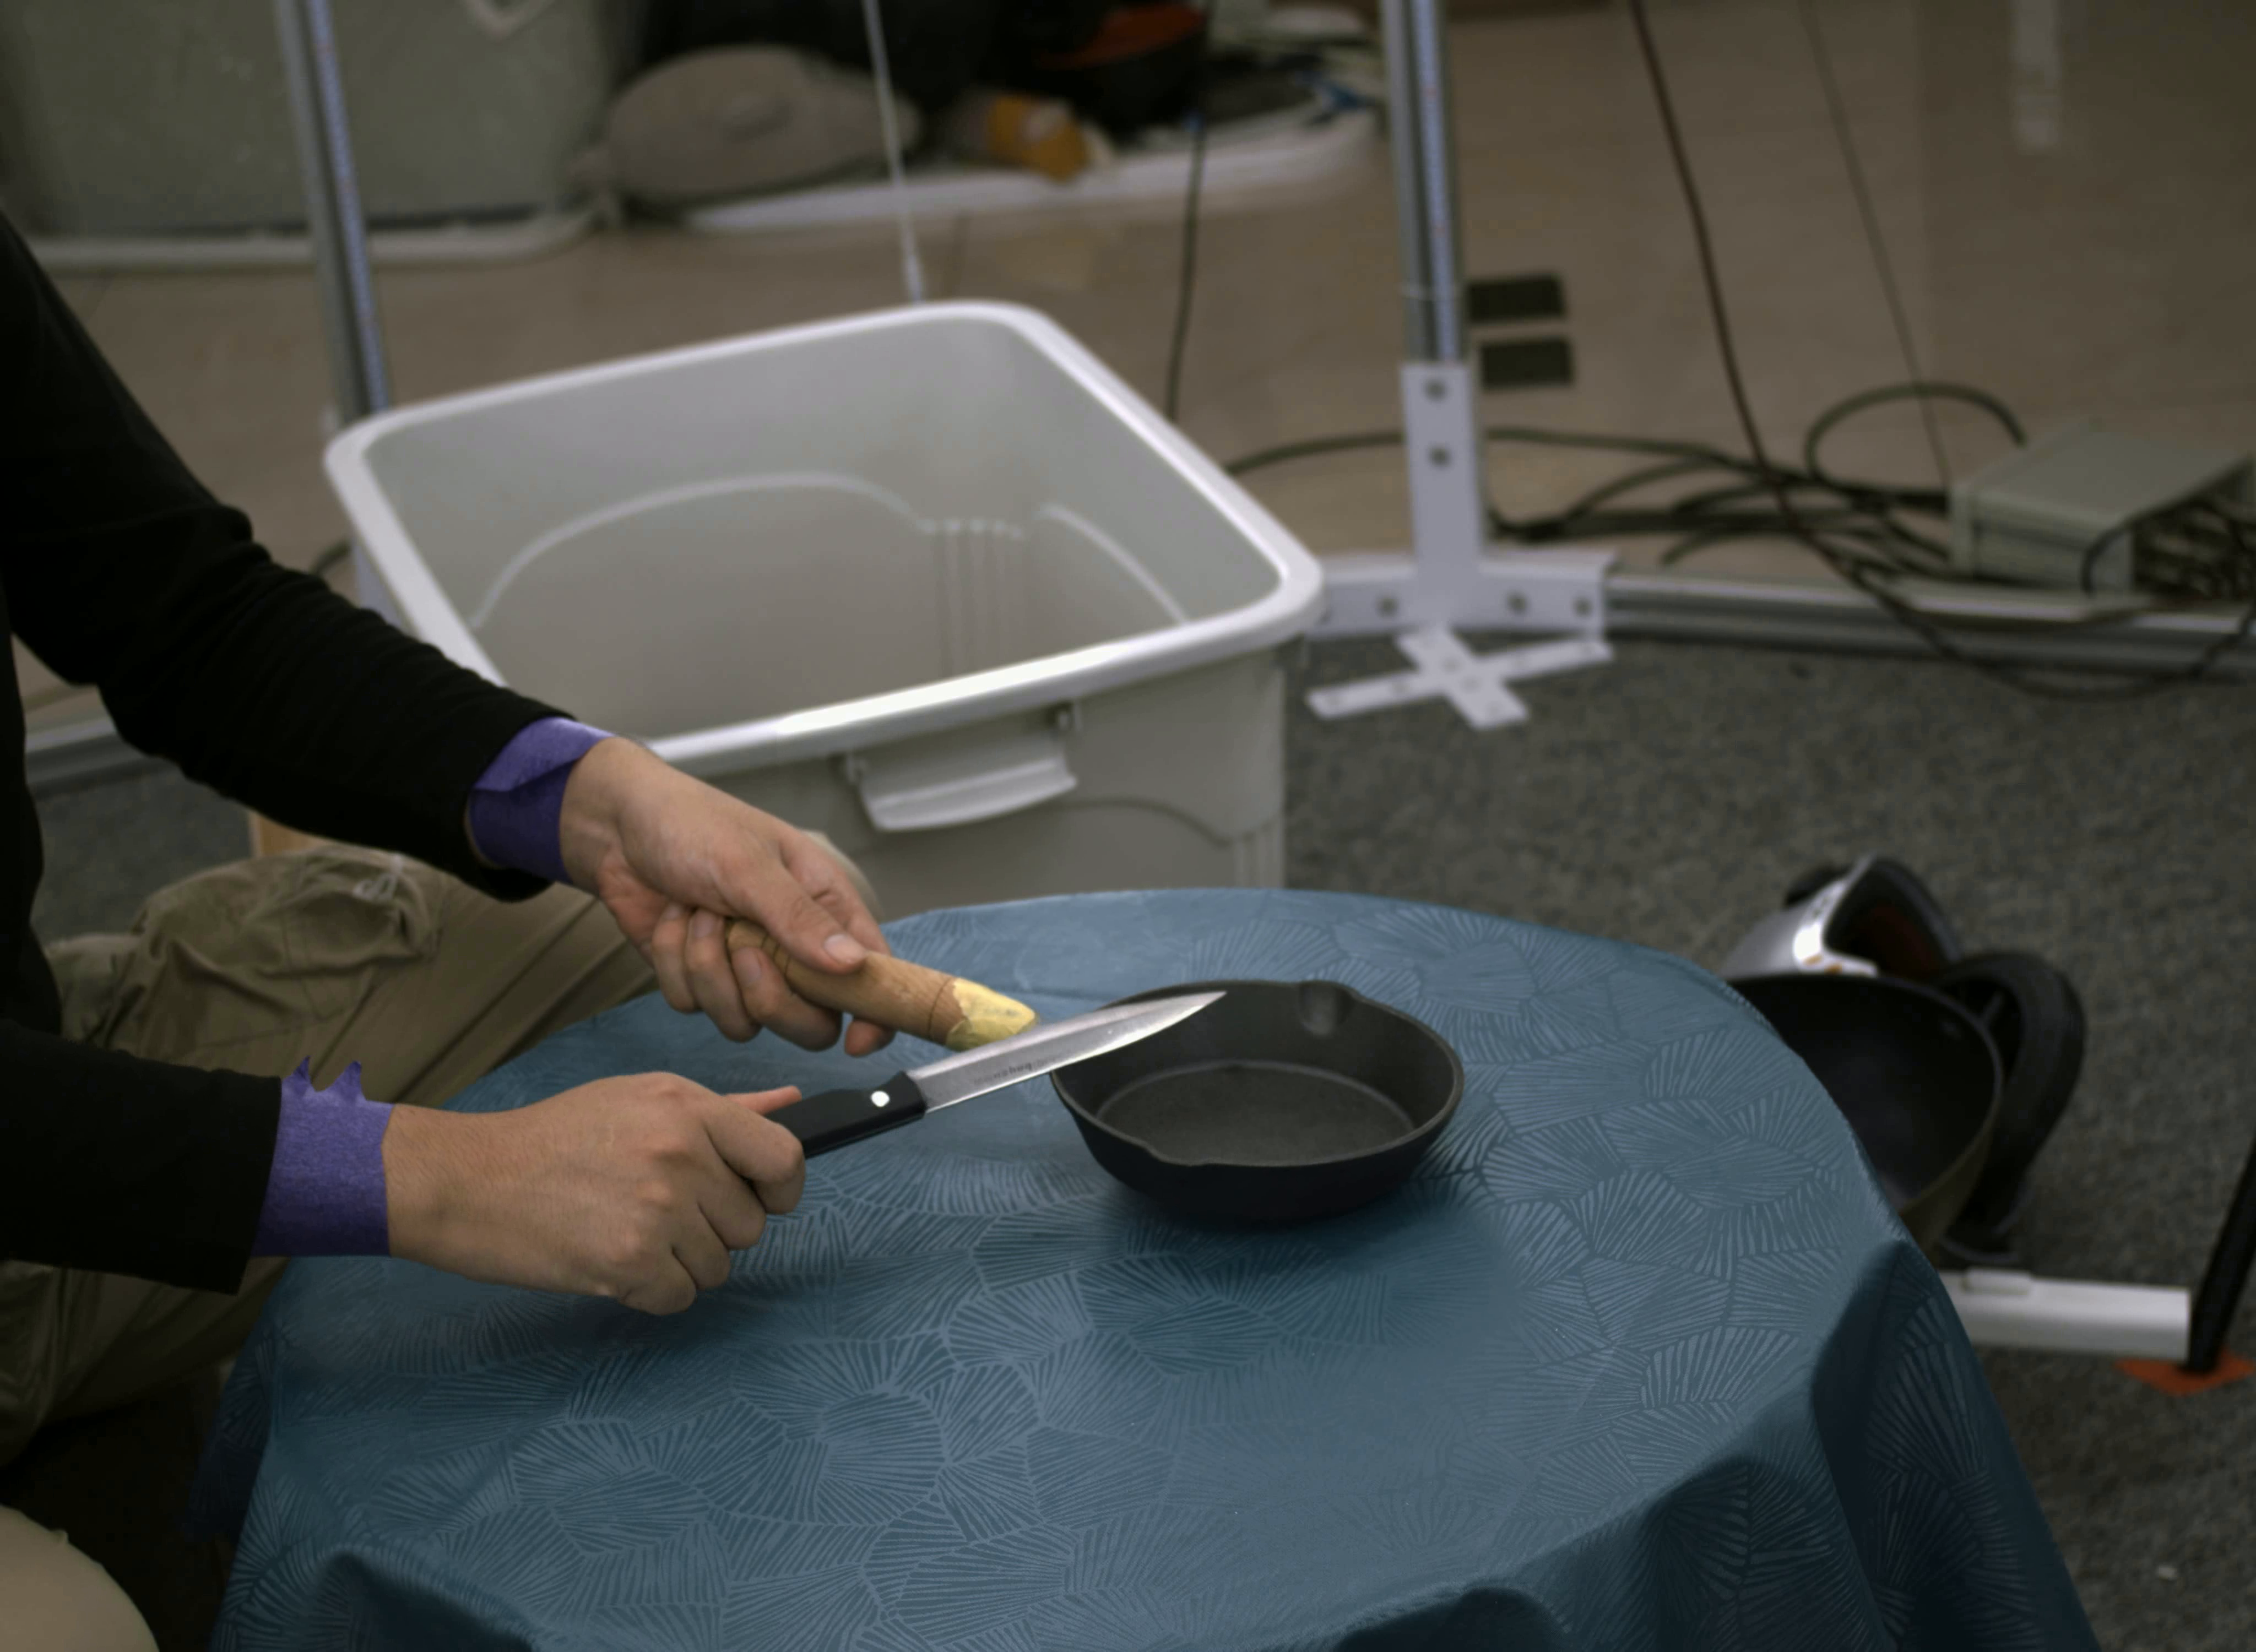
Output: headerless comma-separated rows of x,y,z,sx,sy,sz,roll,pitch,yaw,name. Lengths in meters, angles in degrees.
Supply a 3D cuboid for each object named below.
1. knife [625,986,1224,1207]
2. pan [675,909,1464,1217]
-0.073,0.099,2.115,0.237,0.016,0.024,-18,52,-12,knife
-0.028,0.084,2.178,0.322,0.050,0.167,12,26,22,pan
